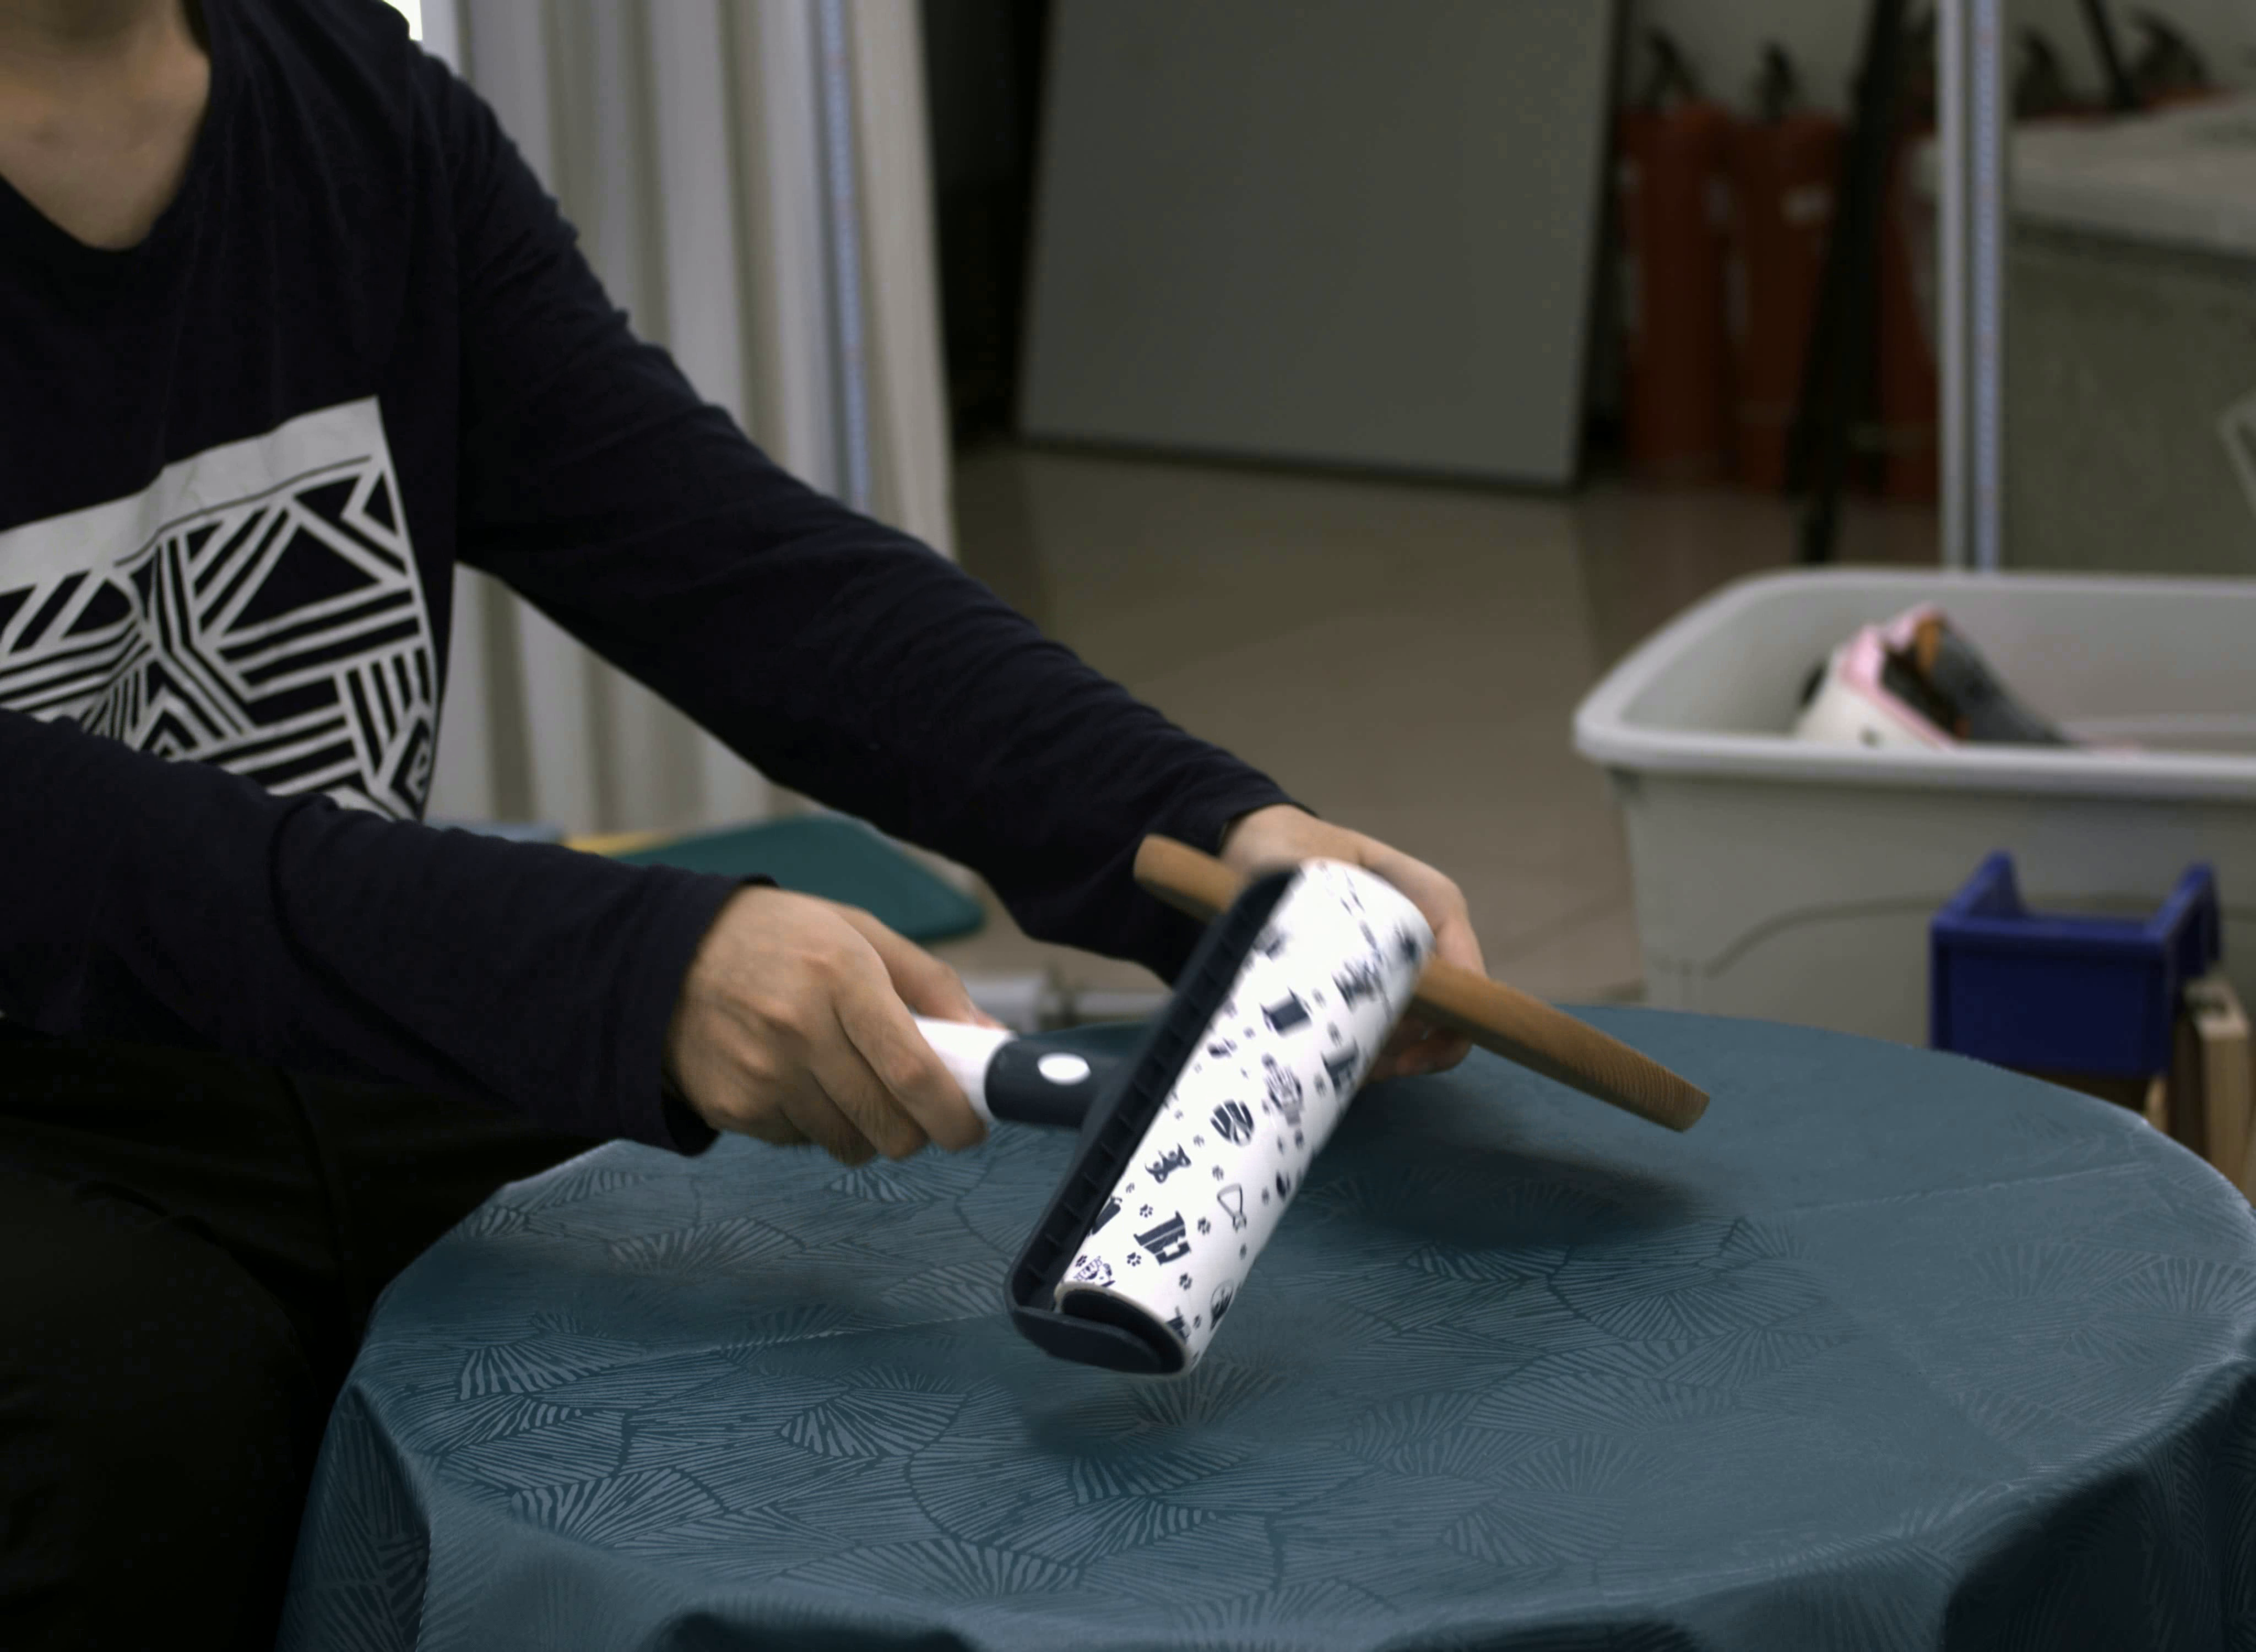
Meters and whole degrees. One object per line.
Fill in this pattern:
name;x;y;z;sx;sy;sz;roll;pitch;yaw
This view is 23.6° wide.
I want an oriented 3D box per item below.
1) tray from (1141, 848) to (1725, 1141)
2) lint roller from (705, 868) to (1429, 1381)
tray;0.097;0.055;1.765;0.233;0.020;0.100;24;-3;40
lint roller;-0.043;0.080;1.648;0.249;0.050;0.176;6;51;40
